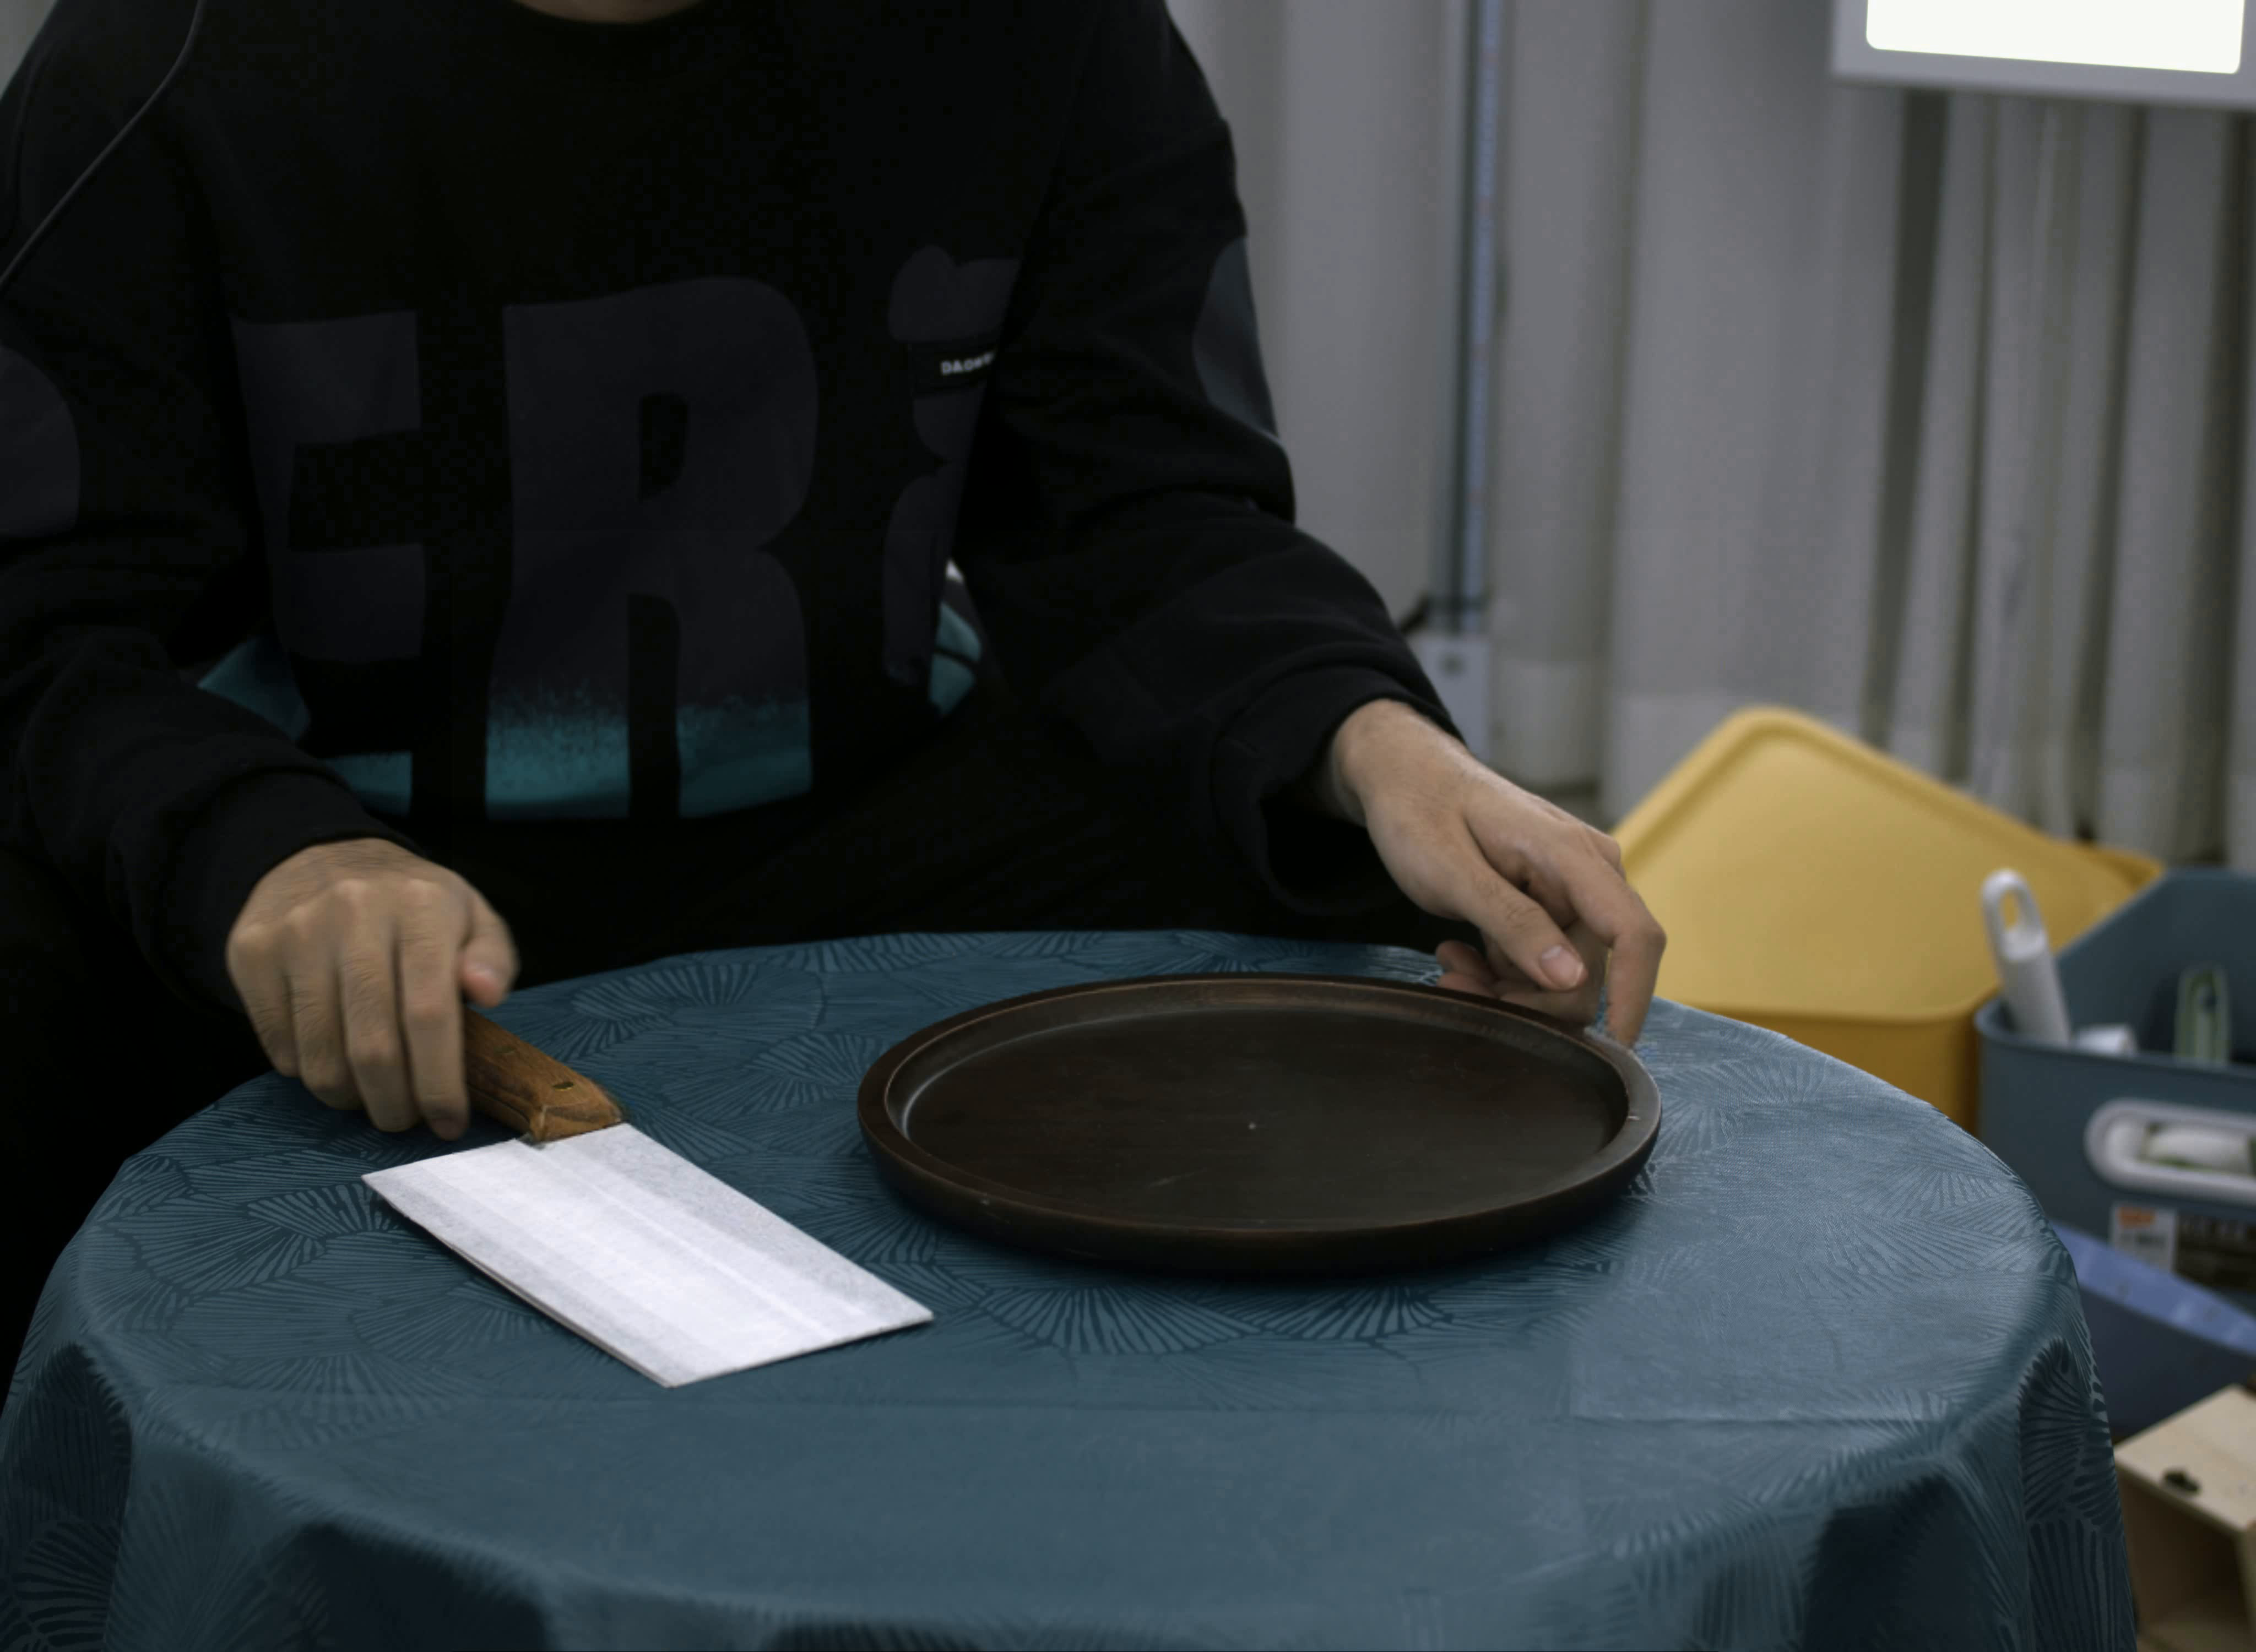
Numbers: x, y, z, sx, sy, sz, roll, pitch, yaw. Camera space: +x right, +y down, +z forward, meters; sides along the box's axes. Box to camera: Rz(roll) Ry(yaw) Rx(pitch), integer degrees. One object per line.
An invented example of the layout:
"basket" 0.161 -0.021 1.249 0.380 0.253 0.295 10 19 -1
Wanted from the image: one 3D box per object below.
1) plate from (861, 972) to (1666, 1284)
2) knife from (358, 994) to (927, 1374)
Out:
"plate" 0.042 0.092 1.650 0.254 0.029 0.253 2 16 0
"knife" -0.176 0.108 1.602 0.093 0.021 0.301 -12 22 -33
